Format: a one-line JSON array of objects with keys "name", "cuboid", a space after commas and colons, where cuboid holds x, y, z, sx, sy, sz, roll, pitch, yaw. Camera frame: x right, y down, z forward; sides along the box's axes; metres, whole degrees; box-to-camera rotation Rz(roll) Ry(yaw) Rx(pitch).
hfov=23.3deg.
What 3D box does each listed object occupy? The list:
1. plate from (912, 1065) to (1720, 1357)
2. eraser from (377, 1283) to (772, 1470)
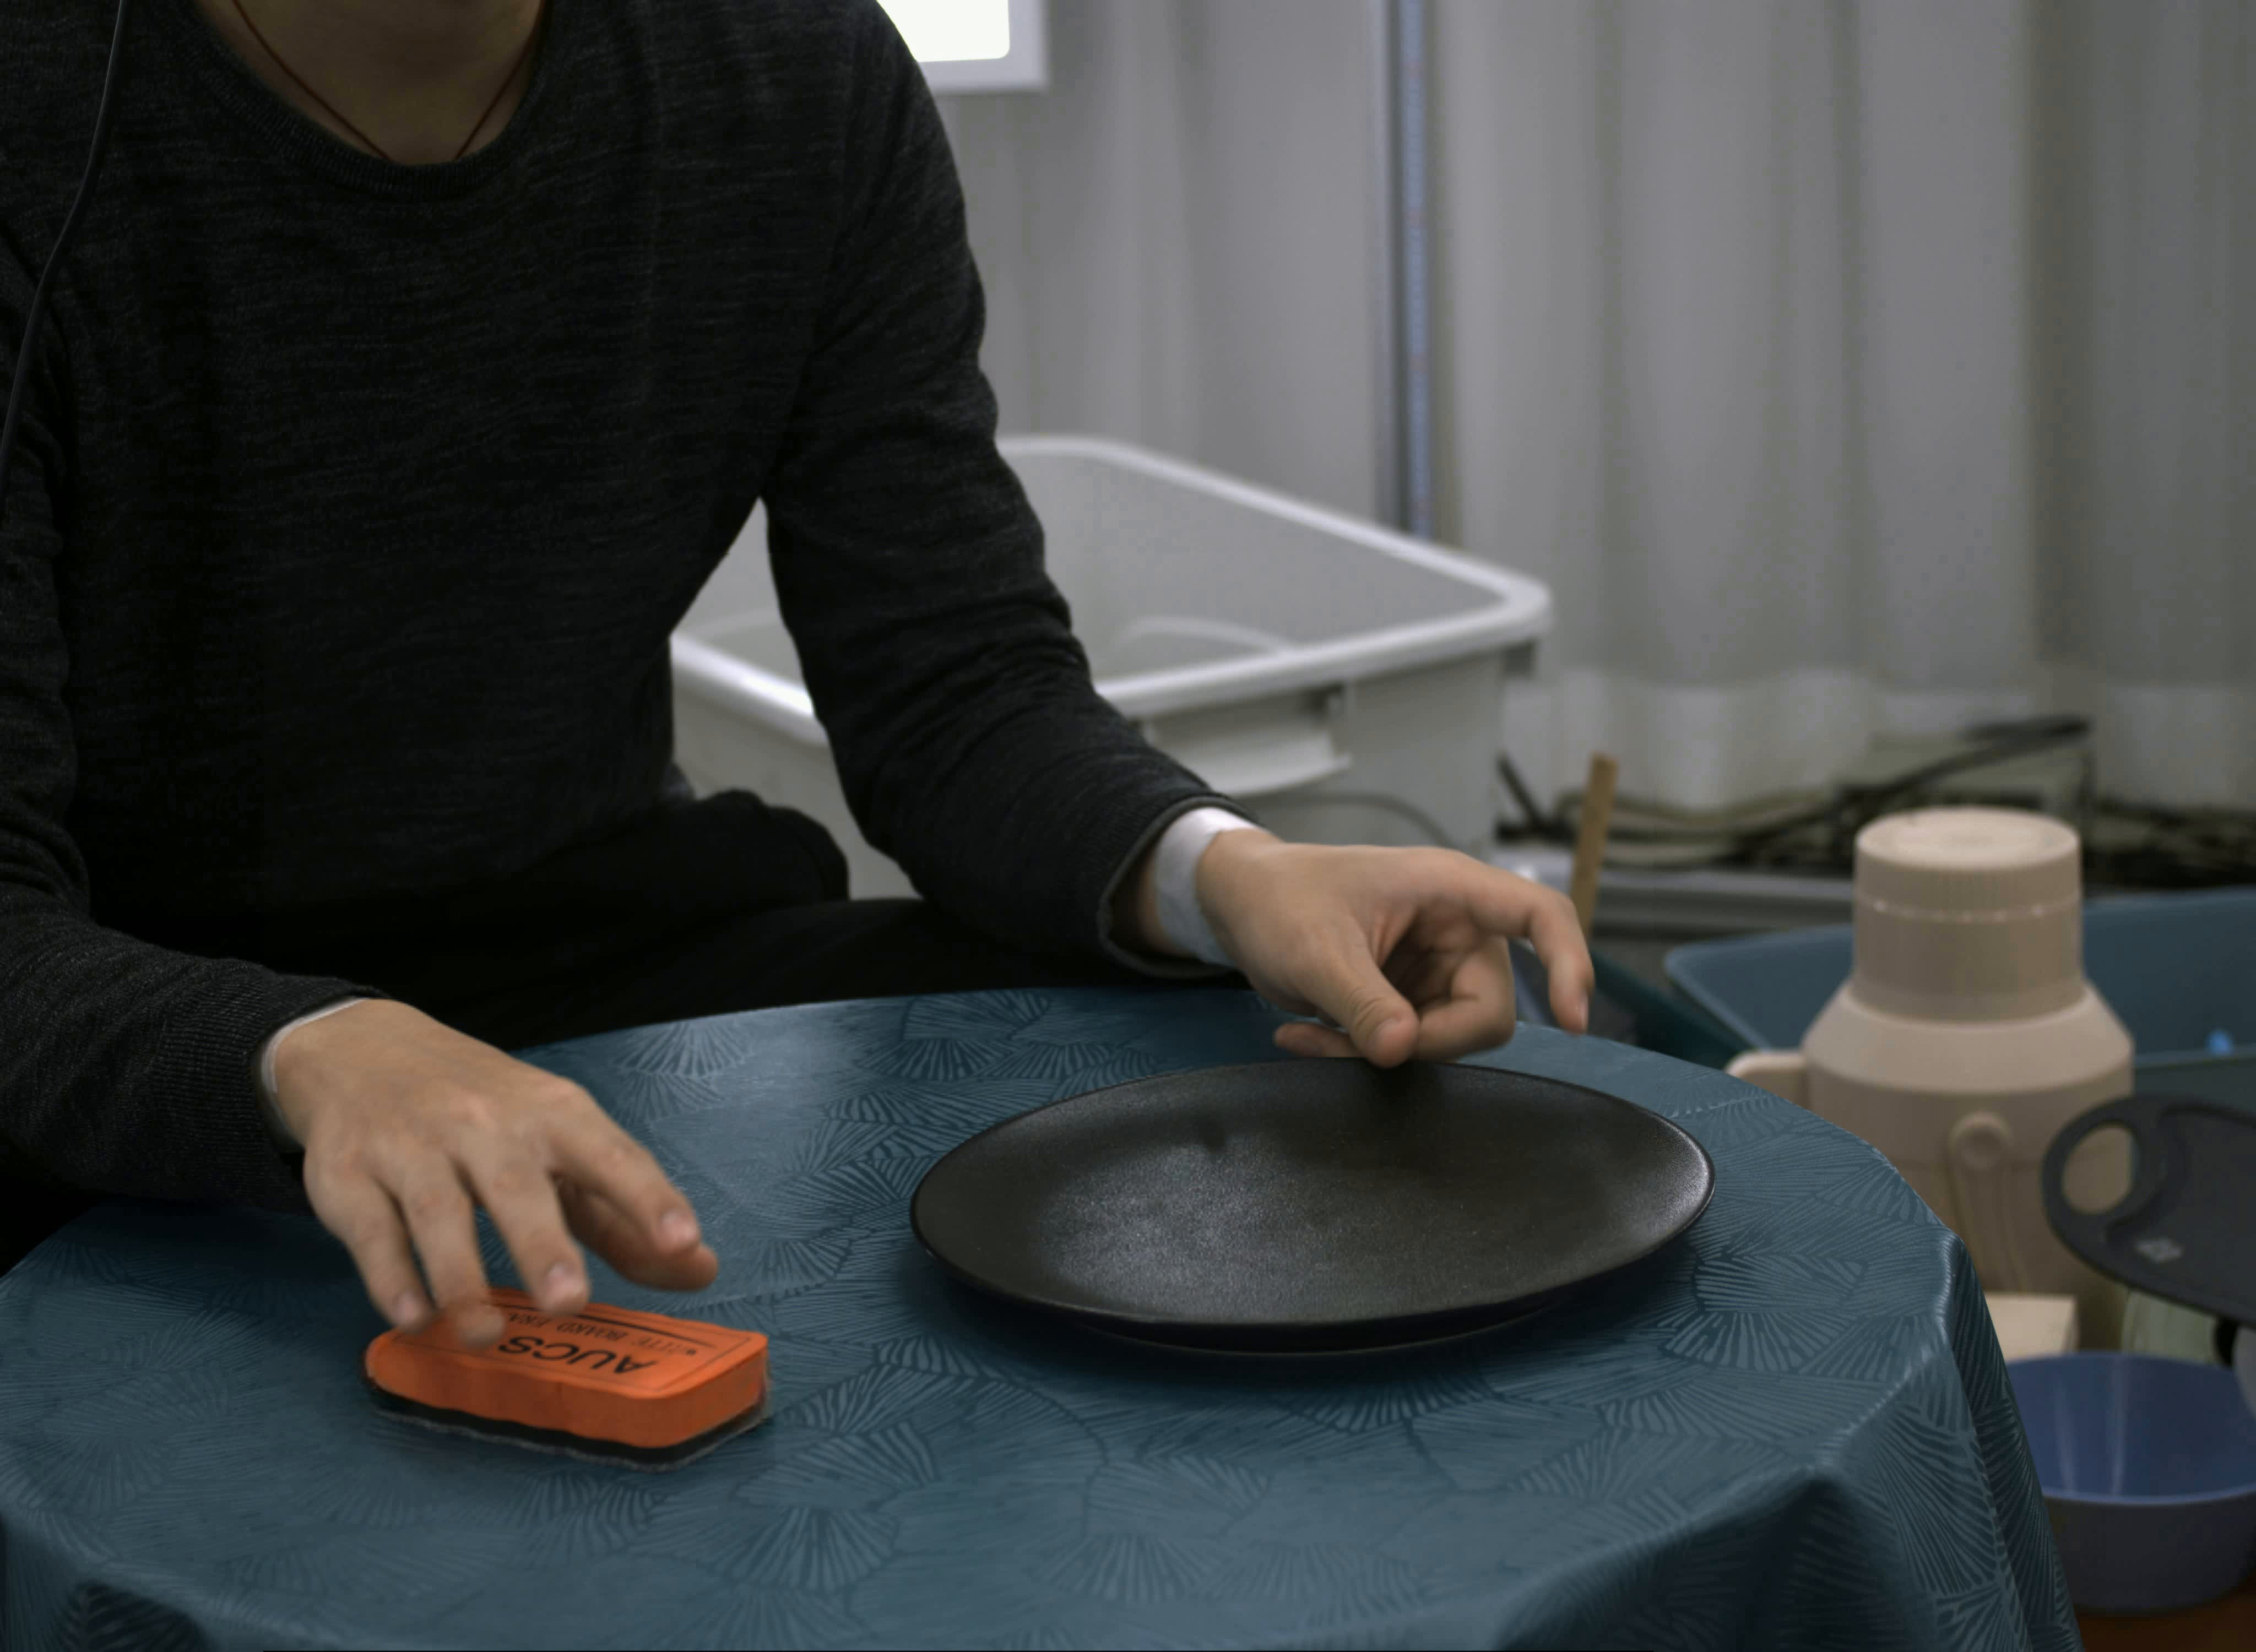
[{"name": "plate", "cuboid": [0.057, 0.118, 1.647, 0.243, 0.023, 0.246, -3, 15, 1]}, {"name": "eraser", "cuboid": [-0.156, 0.155, 1.545, 0.108, 0.023, 0.059, 8, 17, 34]}]
